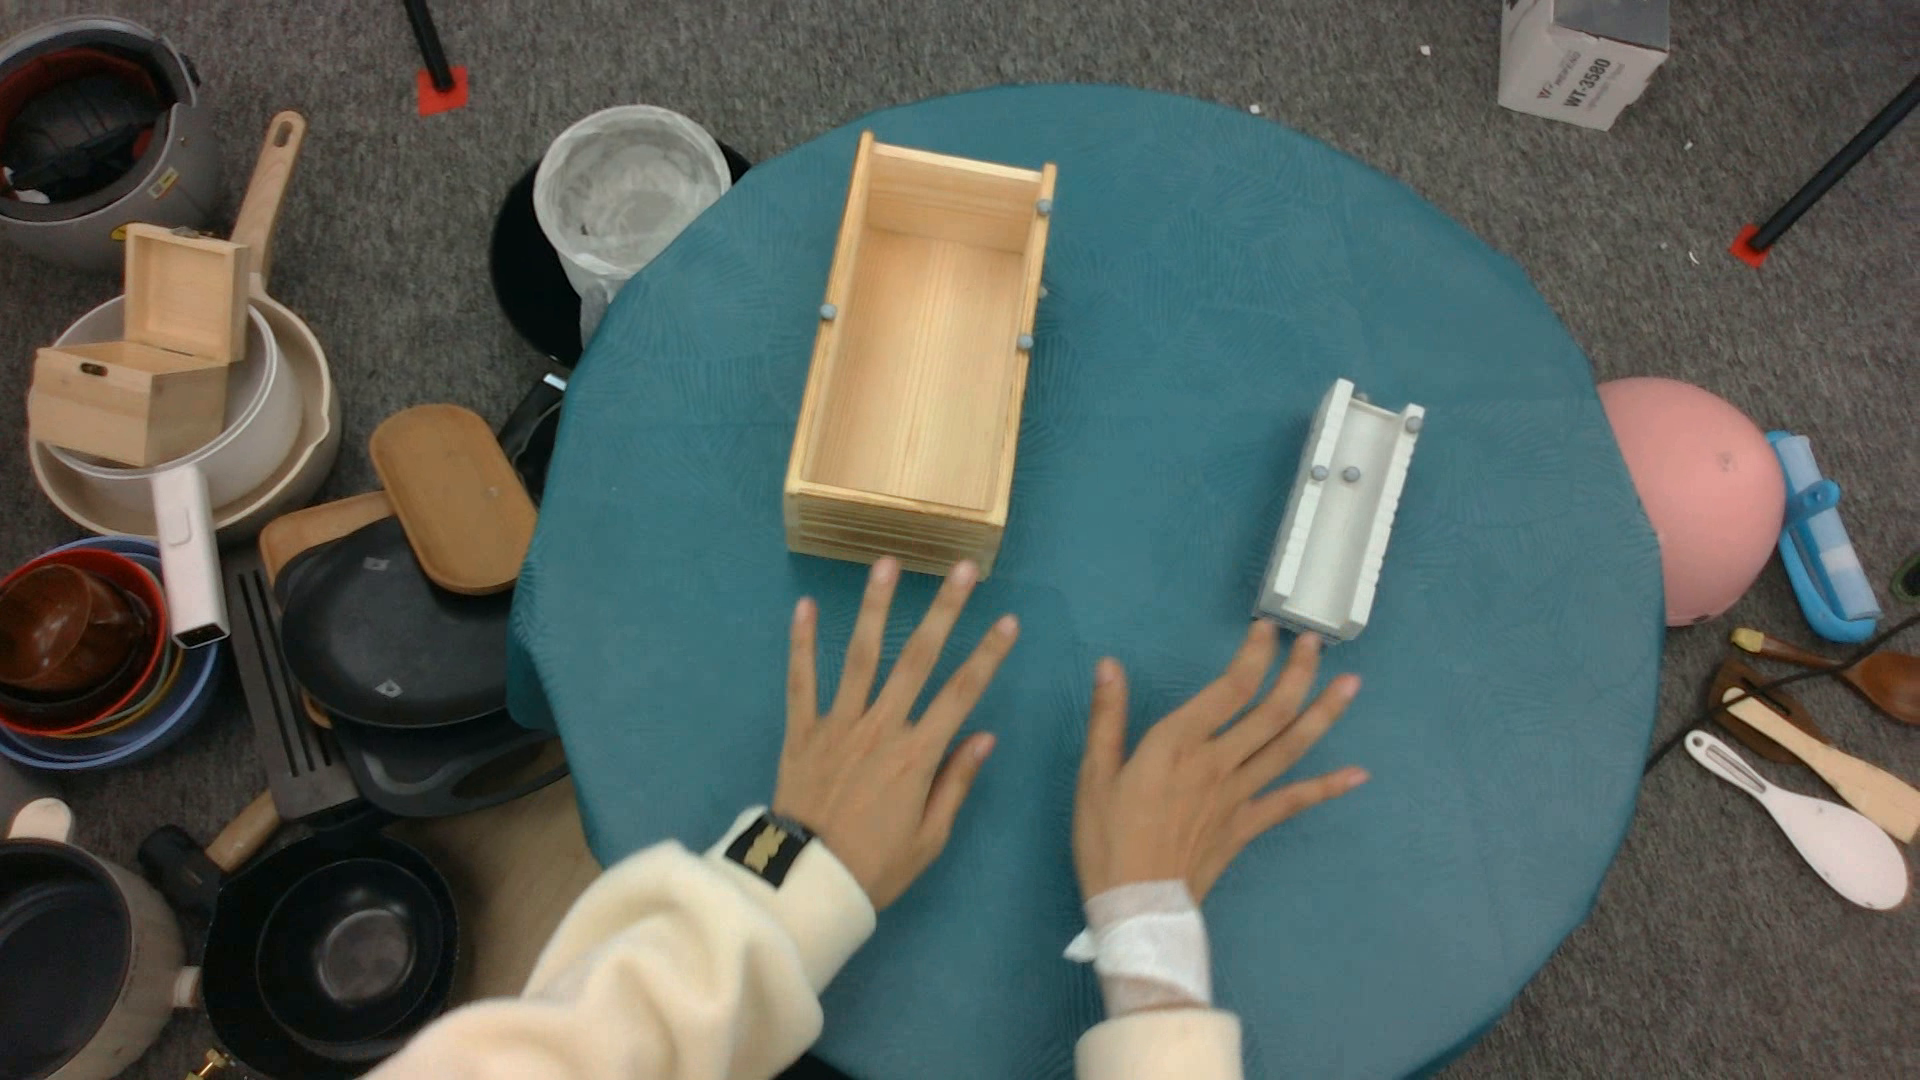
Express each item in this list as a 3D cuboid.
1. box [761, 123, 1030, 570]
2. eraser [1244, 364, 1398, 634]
[{"bbox_3d":[-0.031,-0.101,0.717,0.107,0.080,0.212,8,66,-3],"label":"box"},{"bbox_3d":[0.190,-0.022,0.727,0.050,0.046,0.135,19,65,-1],"label":"eraser"}]
